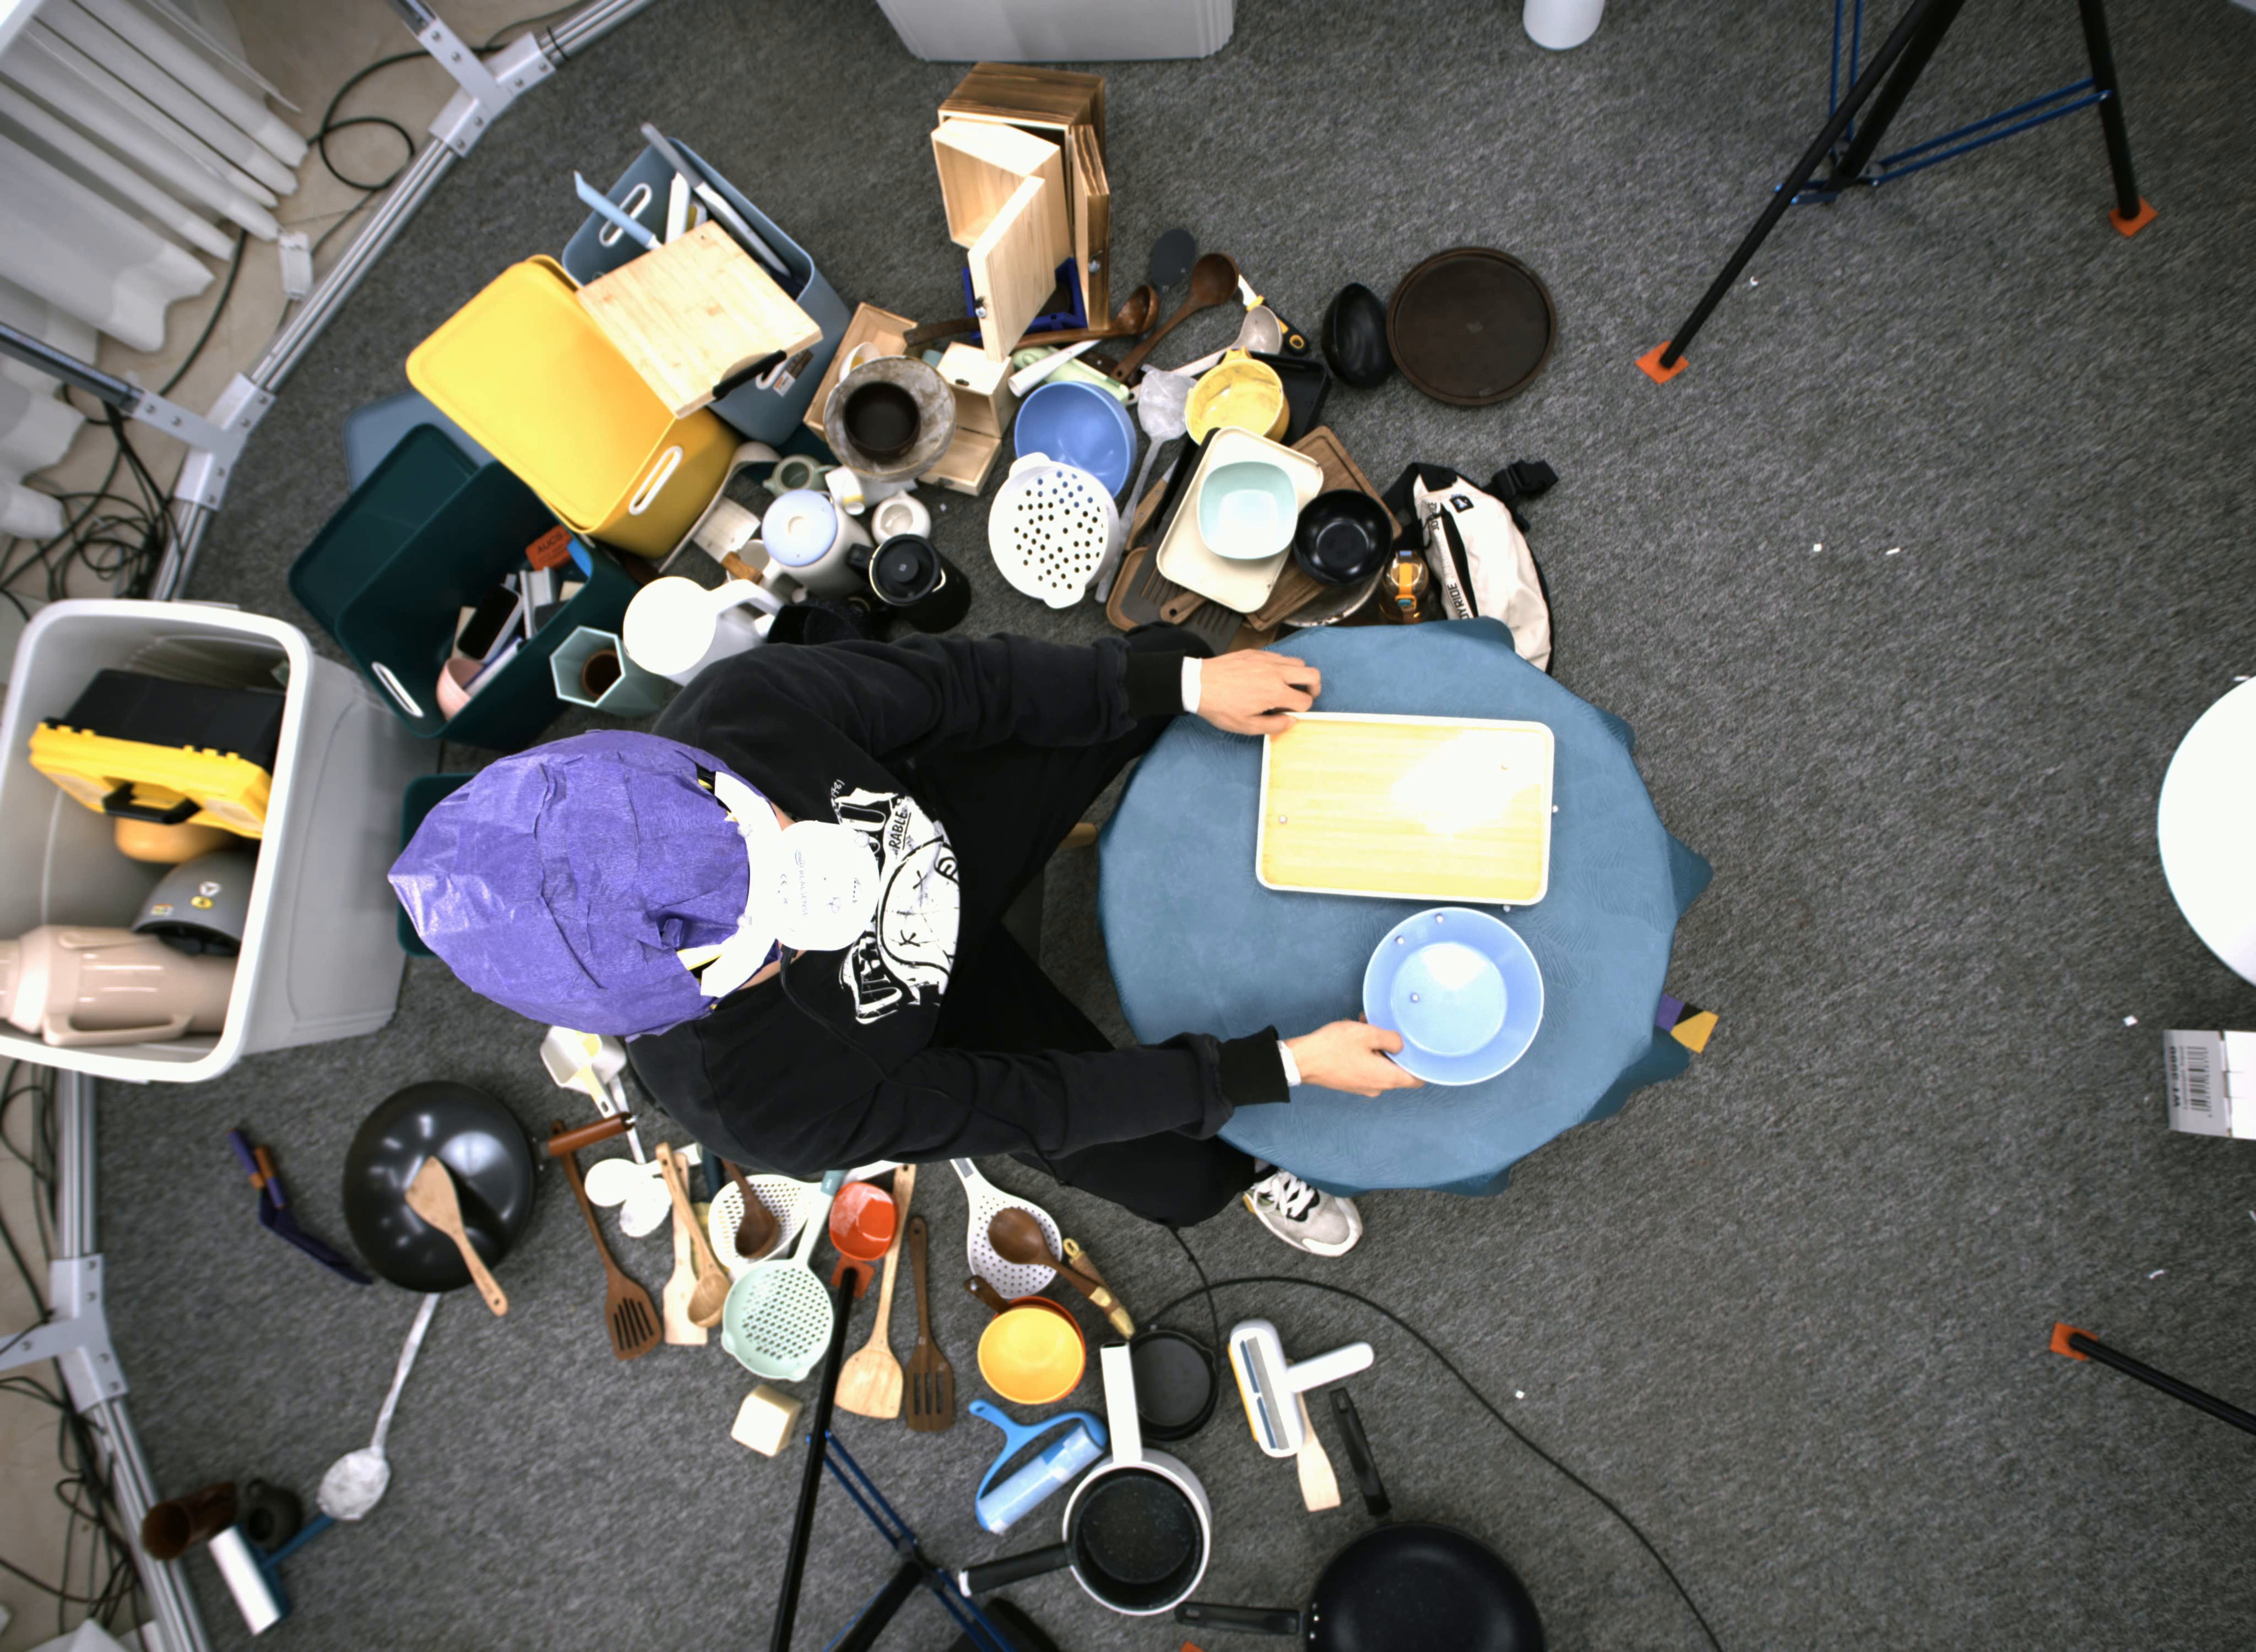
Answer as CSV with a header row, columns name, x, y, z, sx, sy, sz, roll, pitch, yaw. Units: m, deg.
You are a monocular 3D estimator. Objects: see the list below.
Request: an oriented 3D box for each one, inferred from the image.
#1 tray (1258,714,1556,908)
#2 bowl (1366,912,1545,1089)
name,x,y,z,sx,sy,sz,roll,pitch,yaw
tray,0.292,-0.019,1.453,0.301,0.027,0.191,4,87,10
bowl,0.330,0.178,1.405,0.177,0.071,0.174,-2,80,9
